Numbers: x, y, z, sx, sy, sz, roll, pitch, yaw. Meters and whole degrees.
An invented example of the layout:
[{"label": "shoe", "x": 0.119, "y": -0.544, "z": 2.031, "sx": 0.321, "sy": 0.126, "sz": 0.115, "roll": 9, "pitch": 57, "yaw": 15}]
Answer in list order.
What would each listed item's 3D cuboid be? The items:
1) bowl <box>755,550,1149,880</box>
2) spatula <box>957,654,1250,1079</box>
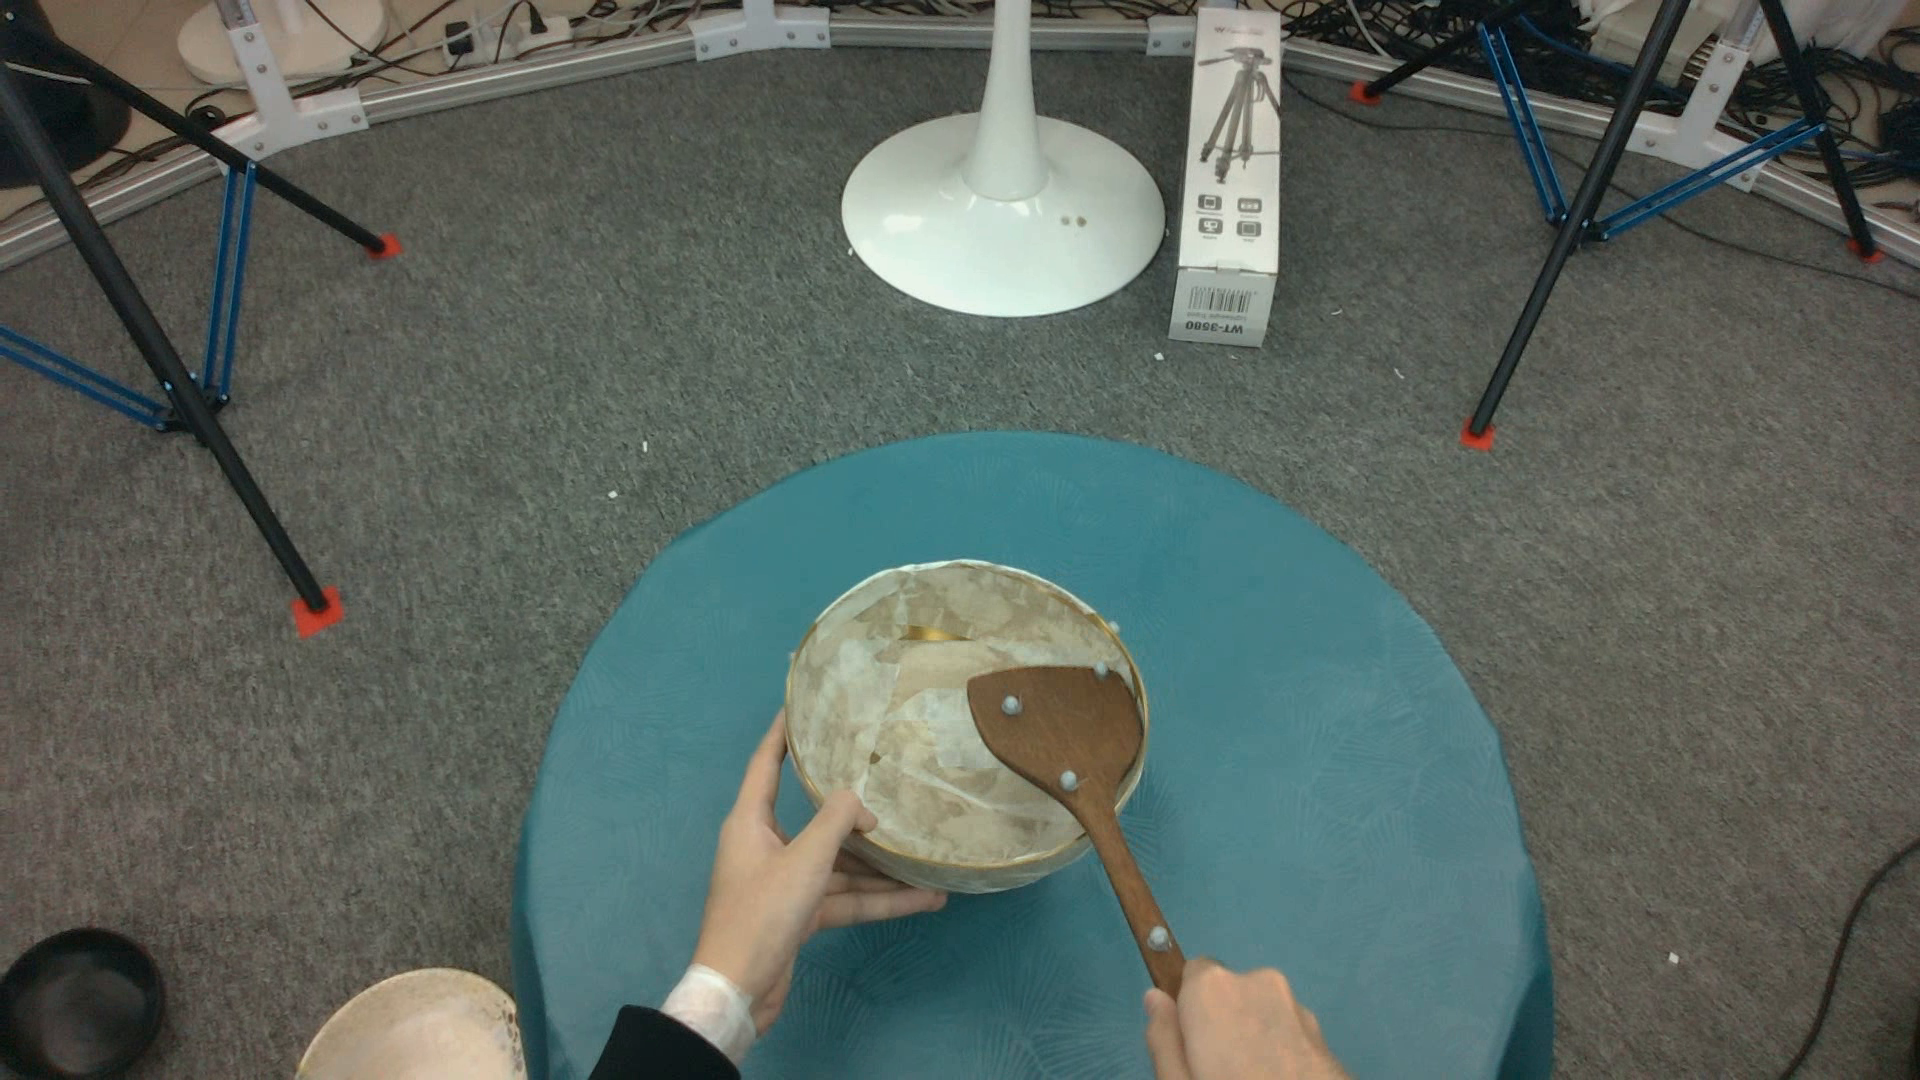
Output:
[{"label": "bowl", "x": -0.005, "y": 0.112, "z": 0.771, "sx": 0.215, "sy": 0.094, "sz": 0.215, "roll": 4, "pitch": 46, "yaw": -4}, {"label": "spatula", "x": 0.082, "y": 0.166, "z": 0.635, "sx": 0.096, "sy": 0.016, "sz": 0.387, "roll": -3, "pitch": 31, "yaw": -13}]
